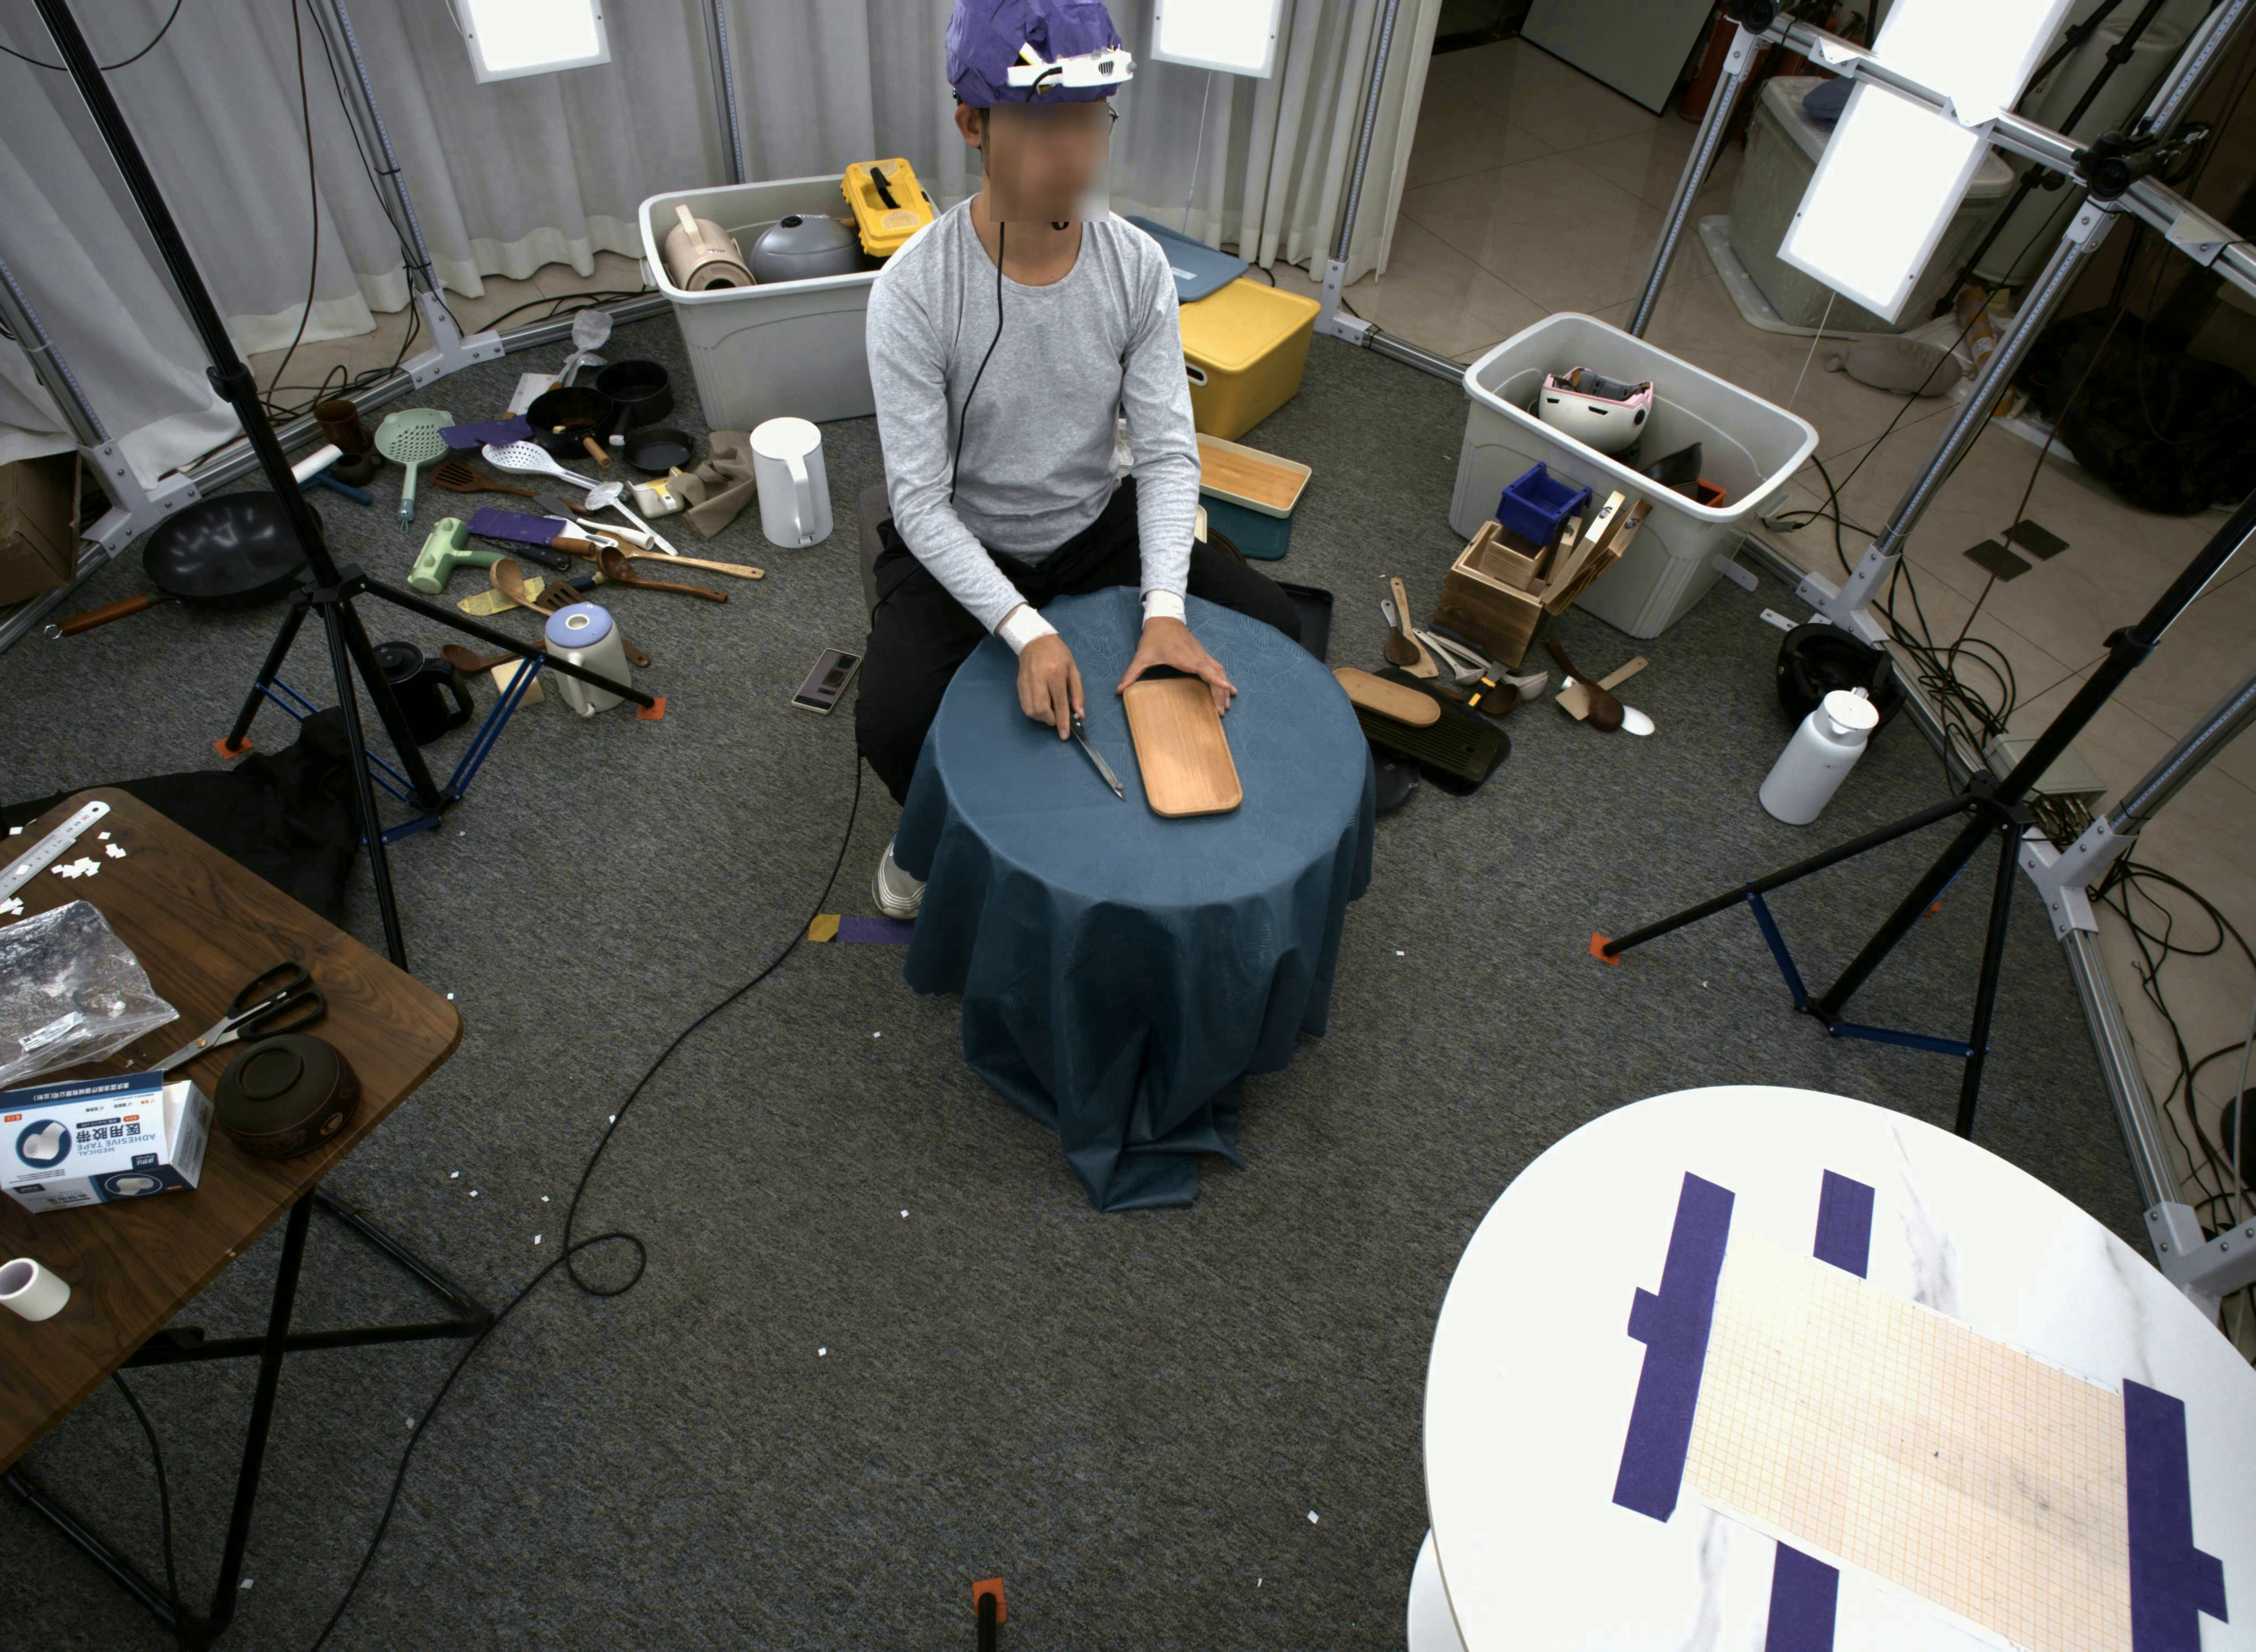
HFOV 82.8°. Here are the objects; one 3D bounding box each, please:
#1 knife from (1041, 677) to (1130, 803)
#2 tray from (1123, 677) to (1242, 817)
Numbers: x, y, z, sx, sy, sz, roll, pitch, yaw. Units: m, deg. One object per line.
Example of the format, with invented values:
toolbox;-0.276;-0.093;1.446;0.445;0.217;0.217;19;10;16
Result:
knife;-0.060;-0.119;1.752;0.024;0.016;0.243;-10;54;-37
tray;0.072;-0.112;1.759;0.130;0.022;0.257;-3;48;-10
